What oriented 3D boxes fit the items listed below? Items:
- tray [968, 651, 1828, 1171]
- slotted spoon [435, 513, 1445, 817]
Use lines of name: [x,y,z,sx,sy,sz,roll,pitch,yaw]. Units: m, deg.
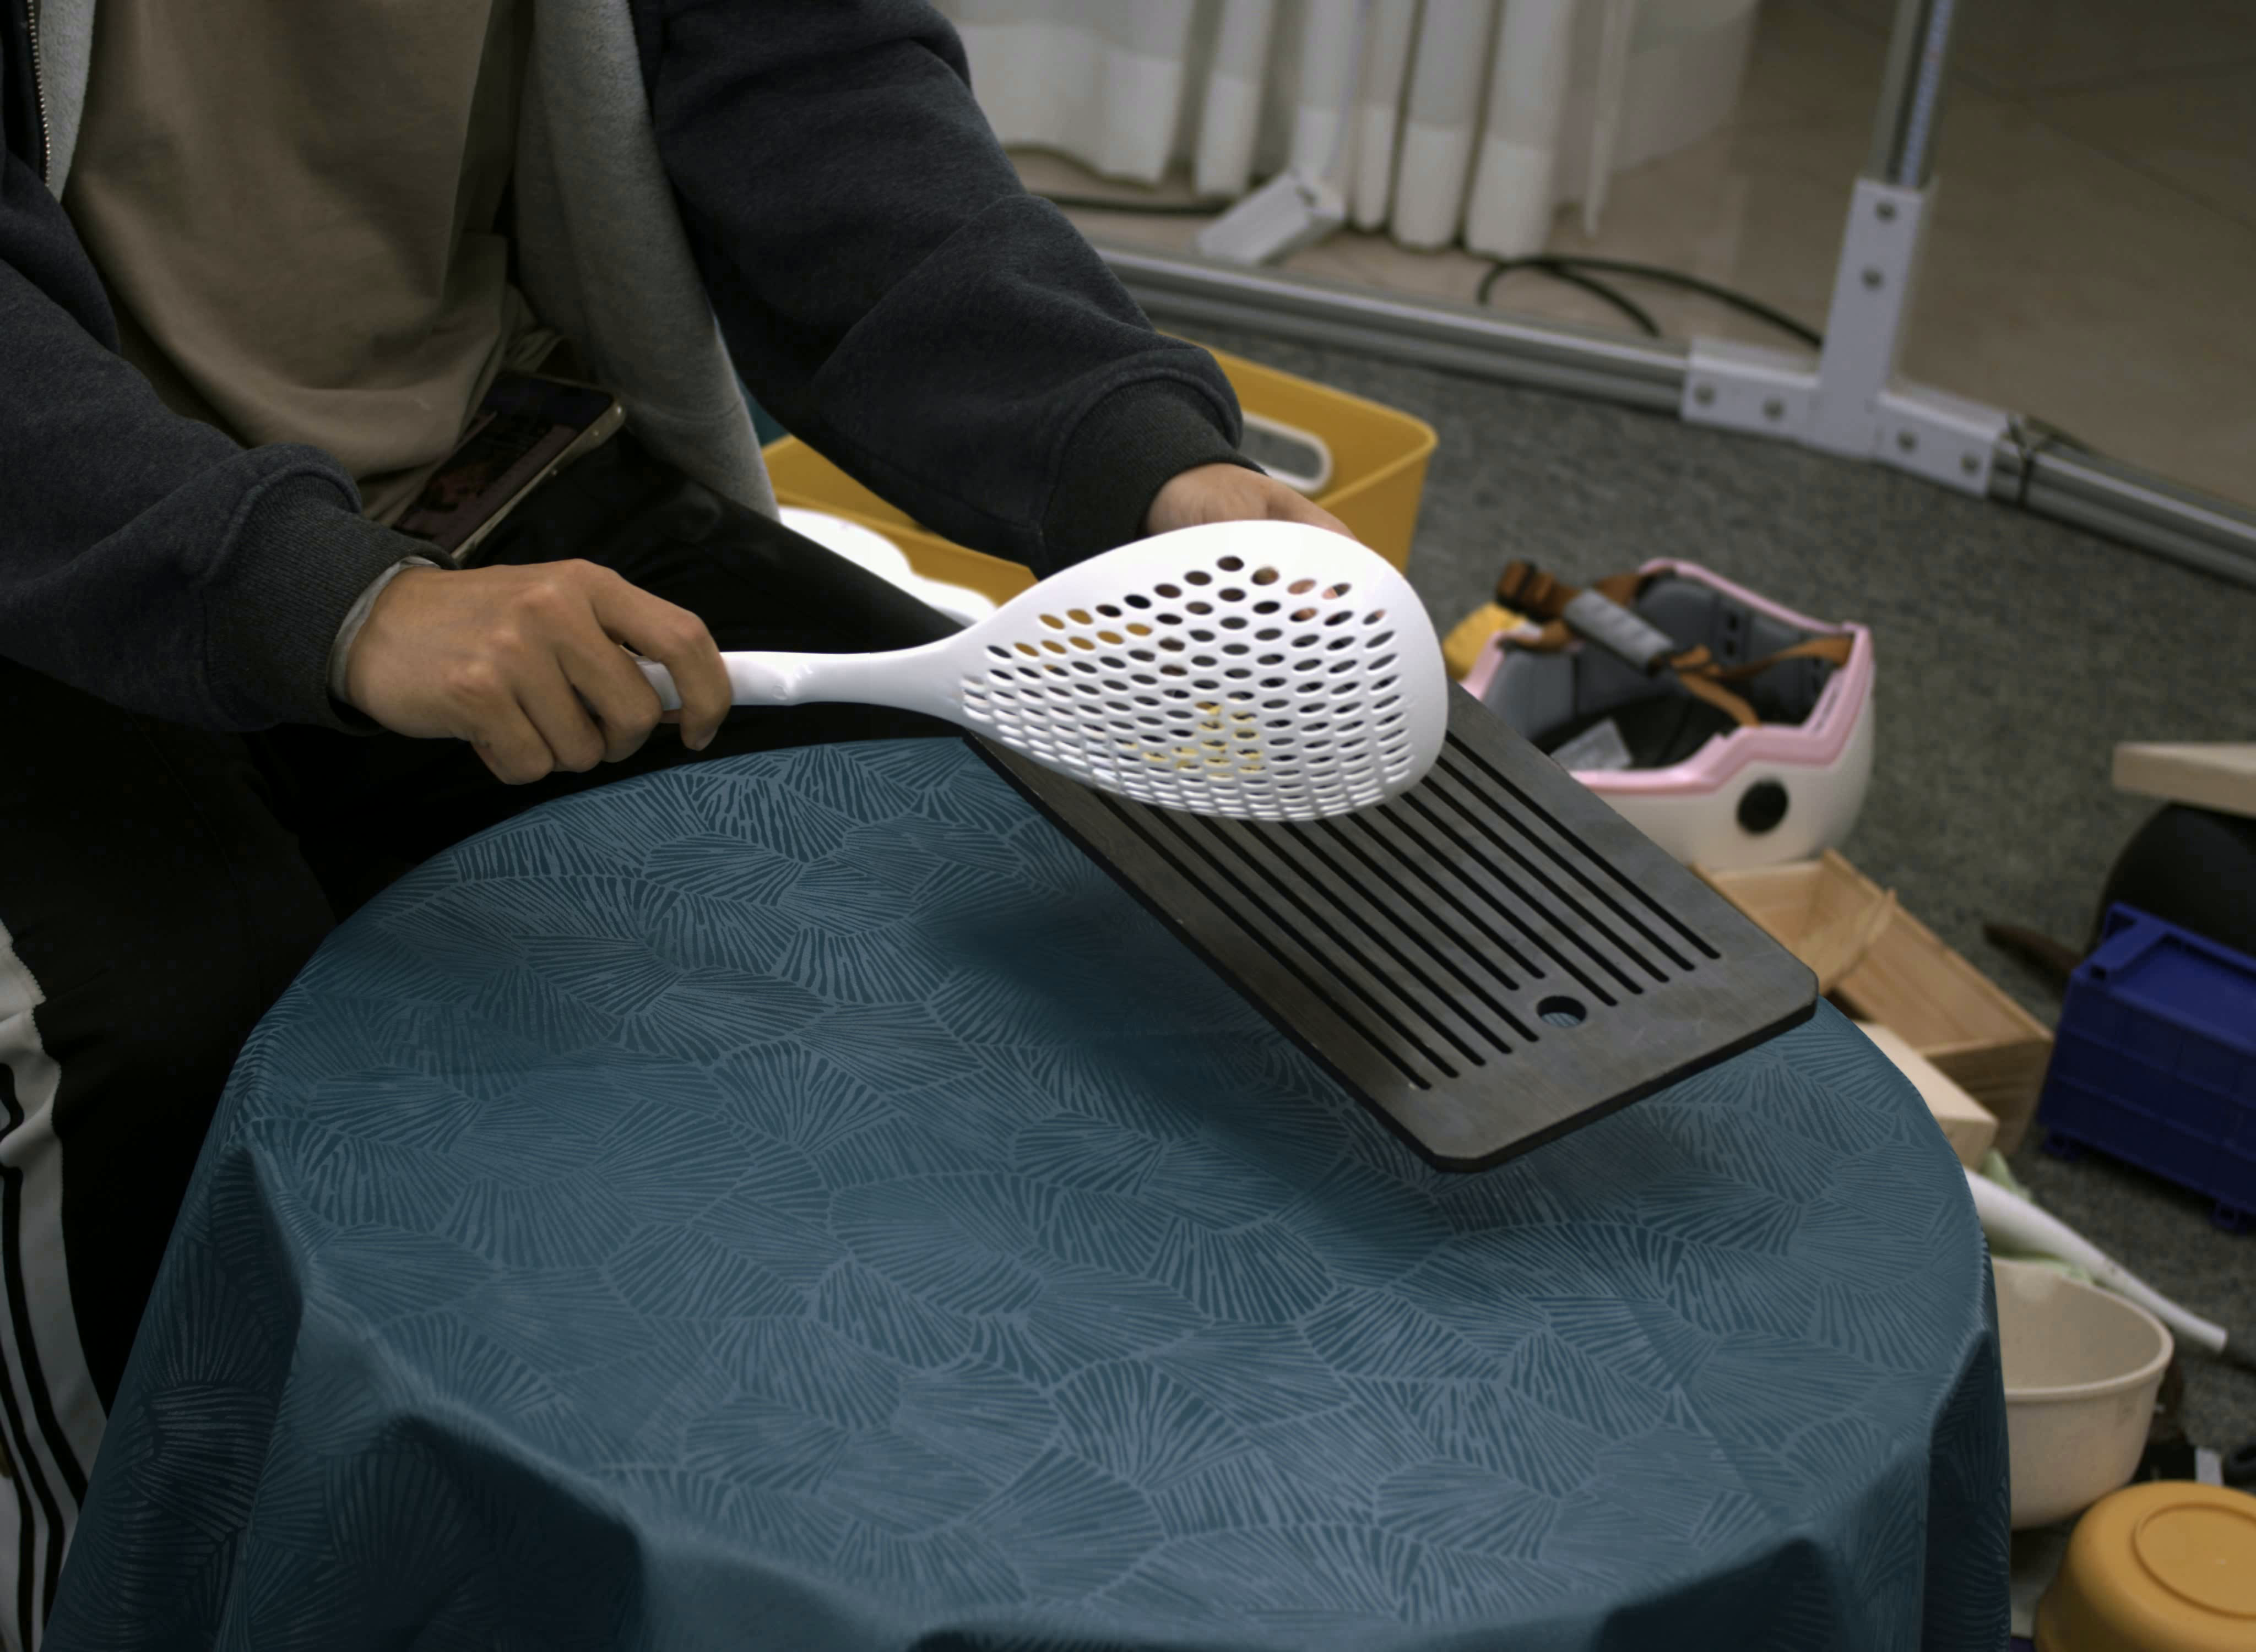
tray: [0.091,0.013,1.900,0.169,0.018,0.309,-22,43,-27]
slotted spoon: [-0.066,-0.046,1.824,0.348,0.136,0.050,3,45,14]
